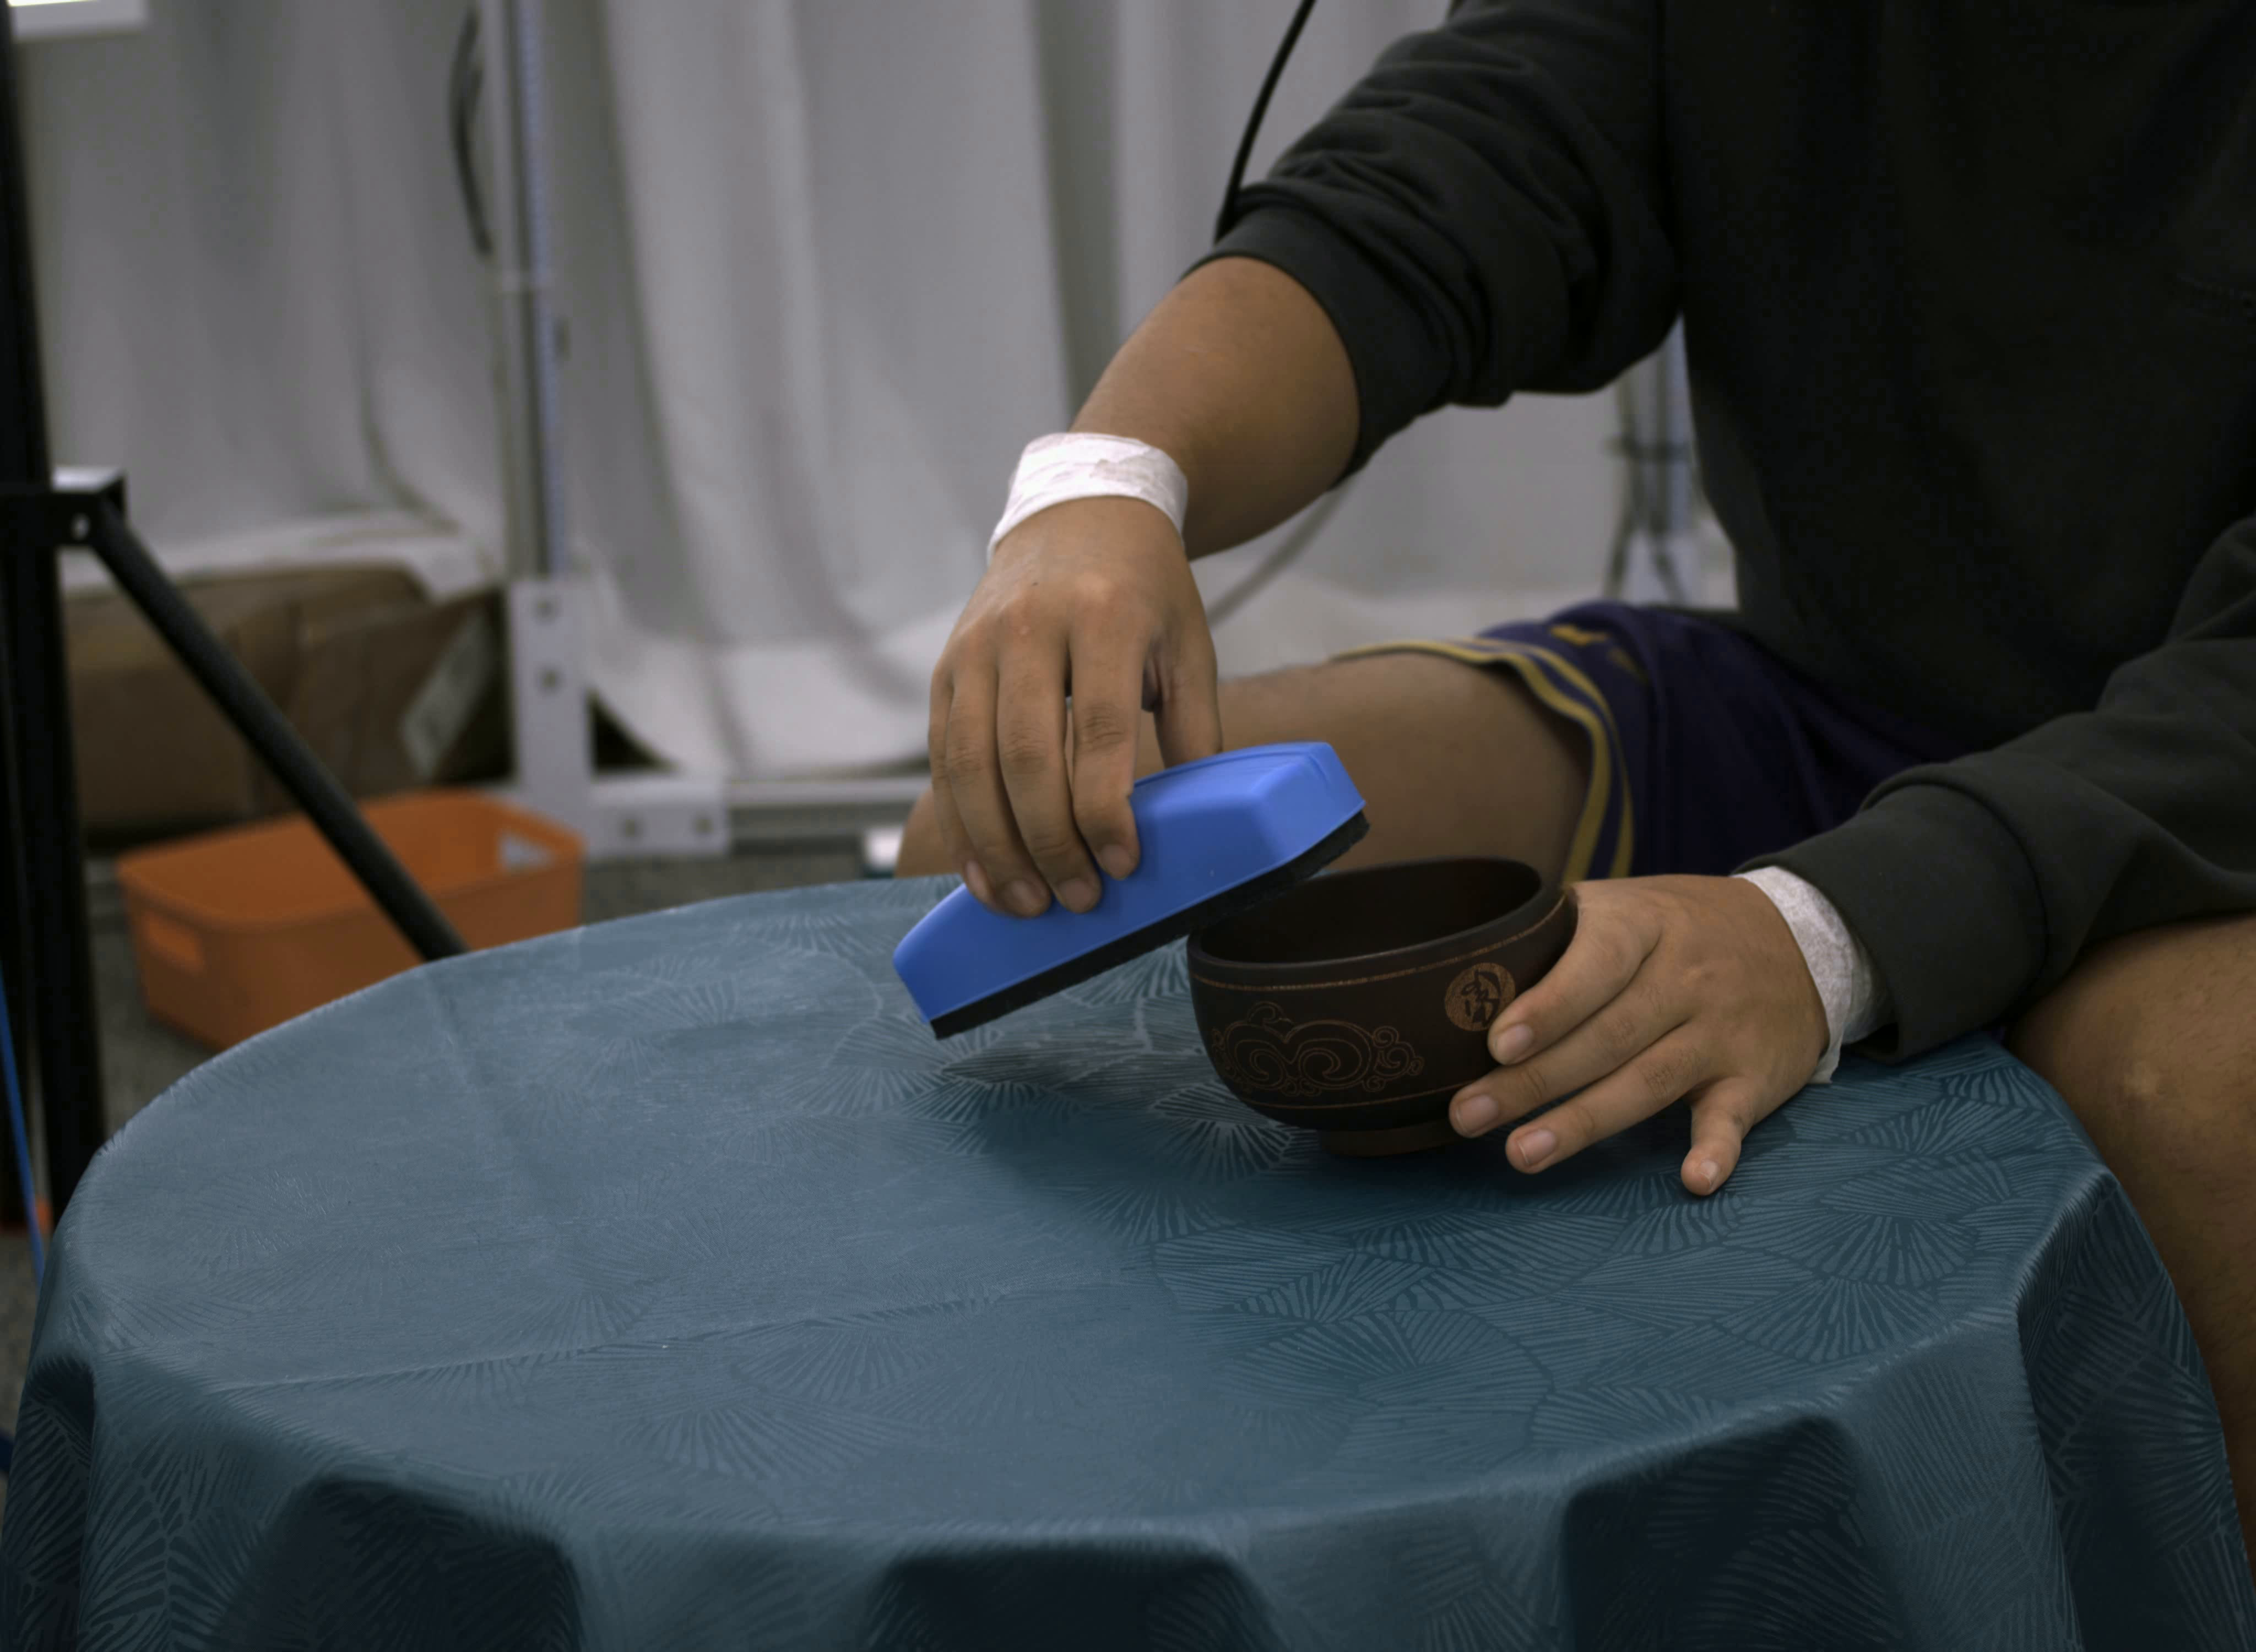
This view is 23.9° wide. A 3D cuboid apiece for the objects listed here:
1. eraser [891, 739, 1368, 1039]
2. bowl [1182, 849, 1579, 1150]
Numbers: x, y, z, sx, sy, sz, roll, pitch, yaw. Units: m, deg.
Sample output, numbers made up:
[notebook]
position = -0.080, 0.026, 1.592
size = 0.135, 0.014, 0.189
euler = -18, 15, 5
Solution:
[eraser]
position = -0.004, 0.015, 1.634
size = 0.164, 0.047, 0.053
euler = -24, 8, 36
[bowl]
position = 0.078, 0.056, 1.584
size = 0.117, 0.070, 0.118
euler = -11, 11, 1
